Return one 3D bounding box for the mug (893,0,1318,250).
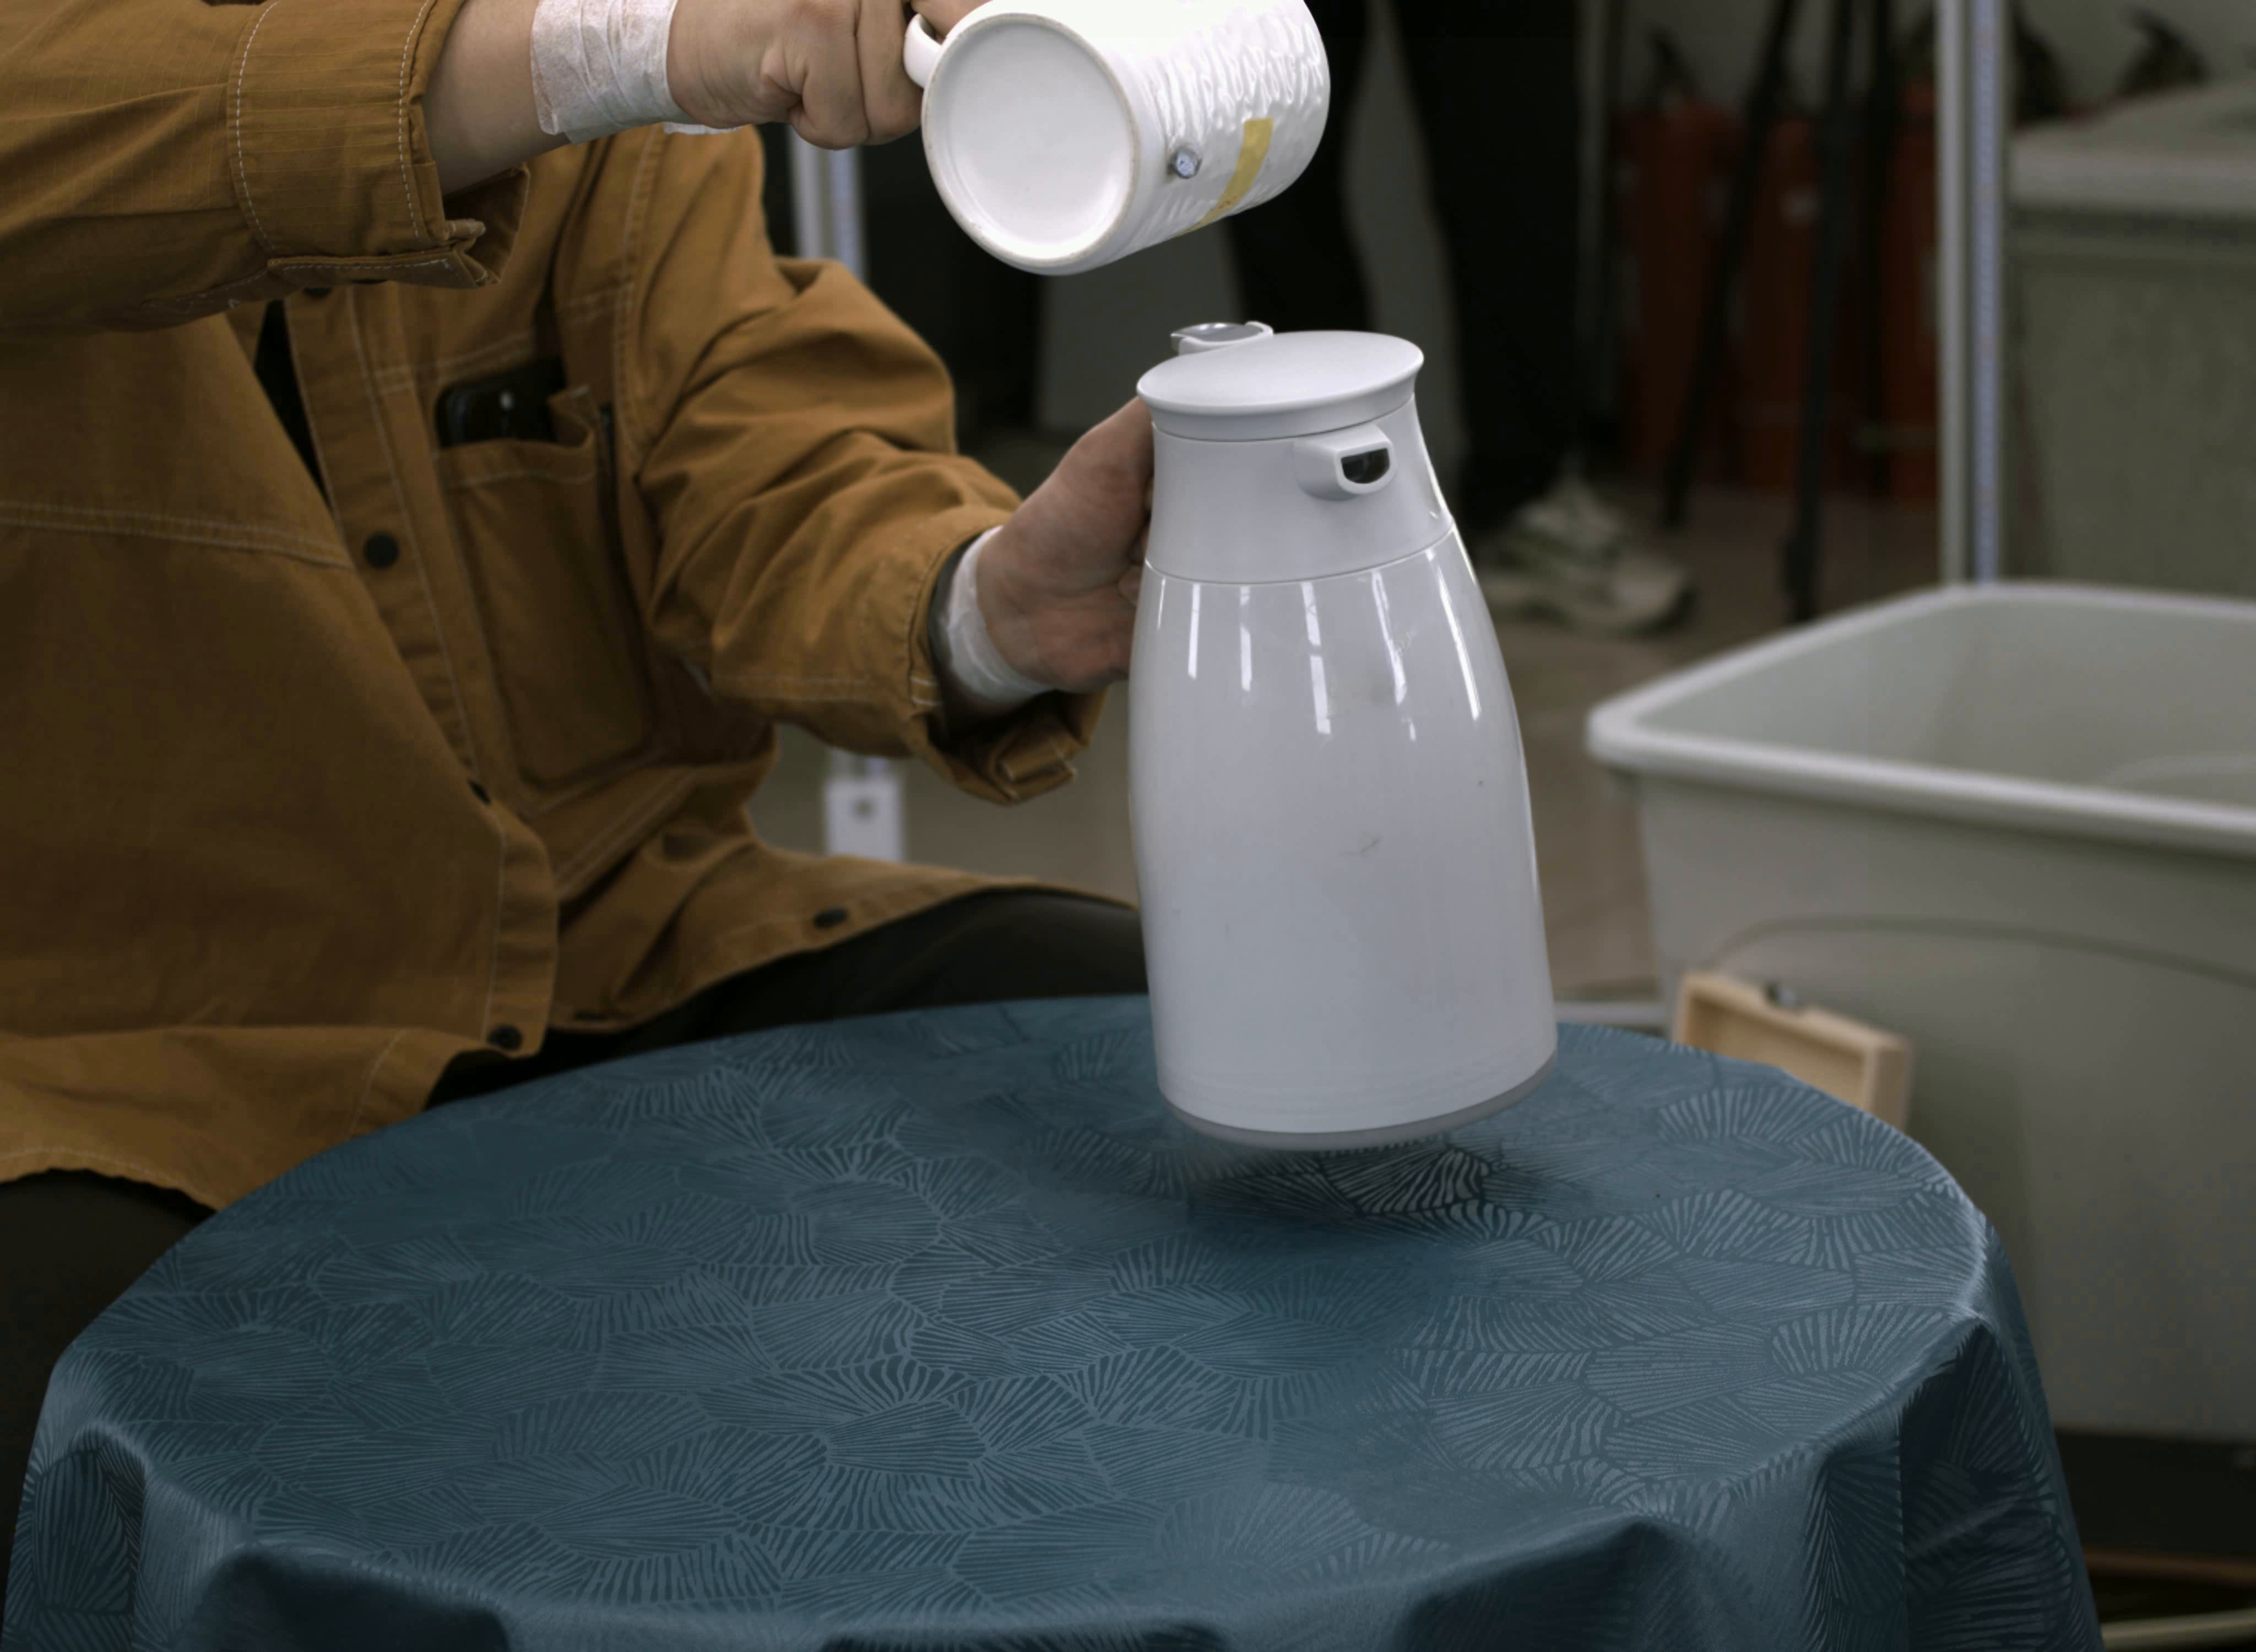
[{"bbox_3d":[-0.018,-0.227,1.610,0.119,0.086,0.100,24,29,26],"label":"mug"}]

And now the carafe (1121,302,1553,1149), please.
[{"bbox_3d":[0.051,-0.041,1.740,0.130,0.251,0.169,-15,18,-19],"label":"carafe"}]
